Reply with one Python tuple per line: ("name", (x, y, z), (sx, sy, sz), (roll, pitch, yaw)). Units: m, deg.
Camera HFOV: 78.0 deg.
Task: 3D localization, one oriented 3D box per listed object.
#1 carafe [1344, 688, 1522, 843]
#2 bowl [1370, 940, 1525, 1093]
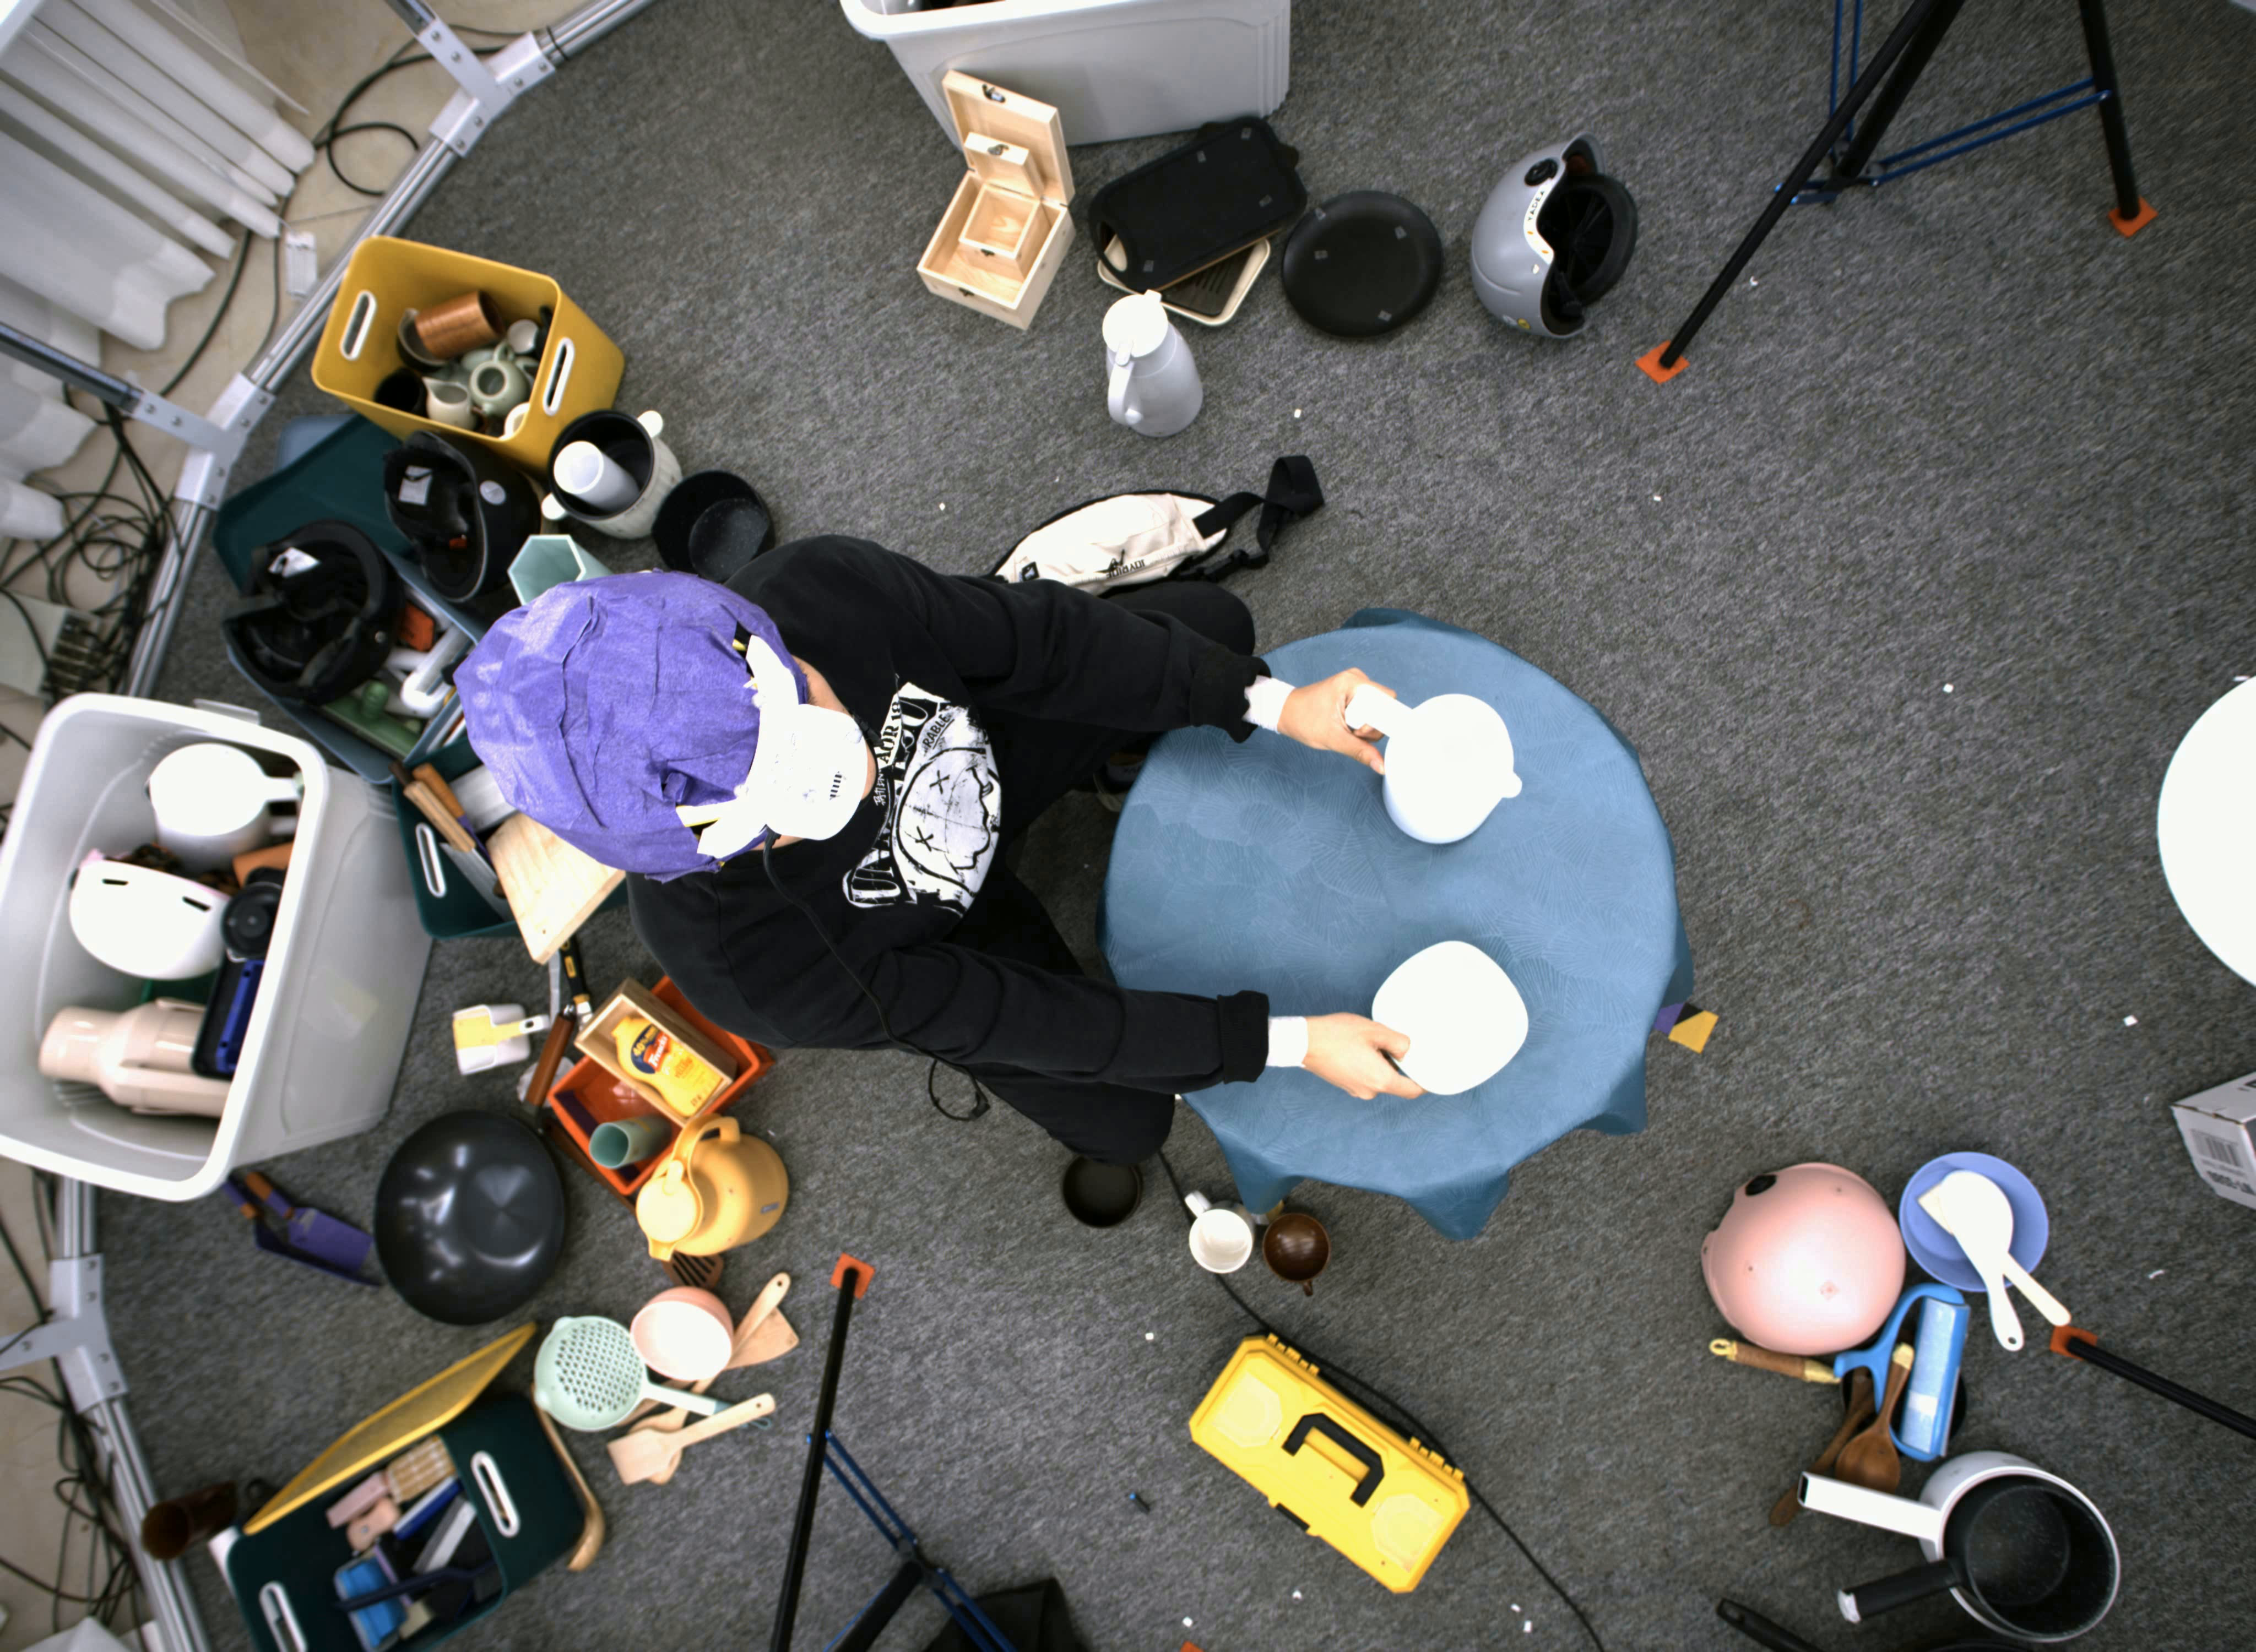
("carafe", (0.289, -0.062, 1.329), (0.172, 0.268, 0.124), (31, 93, 11))
("bowl", (0.320, 0.187, 1.388), (0.152, 0.058, 0.151), (0, 89, 11))
